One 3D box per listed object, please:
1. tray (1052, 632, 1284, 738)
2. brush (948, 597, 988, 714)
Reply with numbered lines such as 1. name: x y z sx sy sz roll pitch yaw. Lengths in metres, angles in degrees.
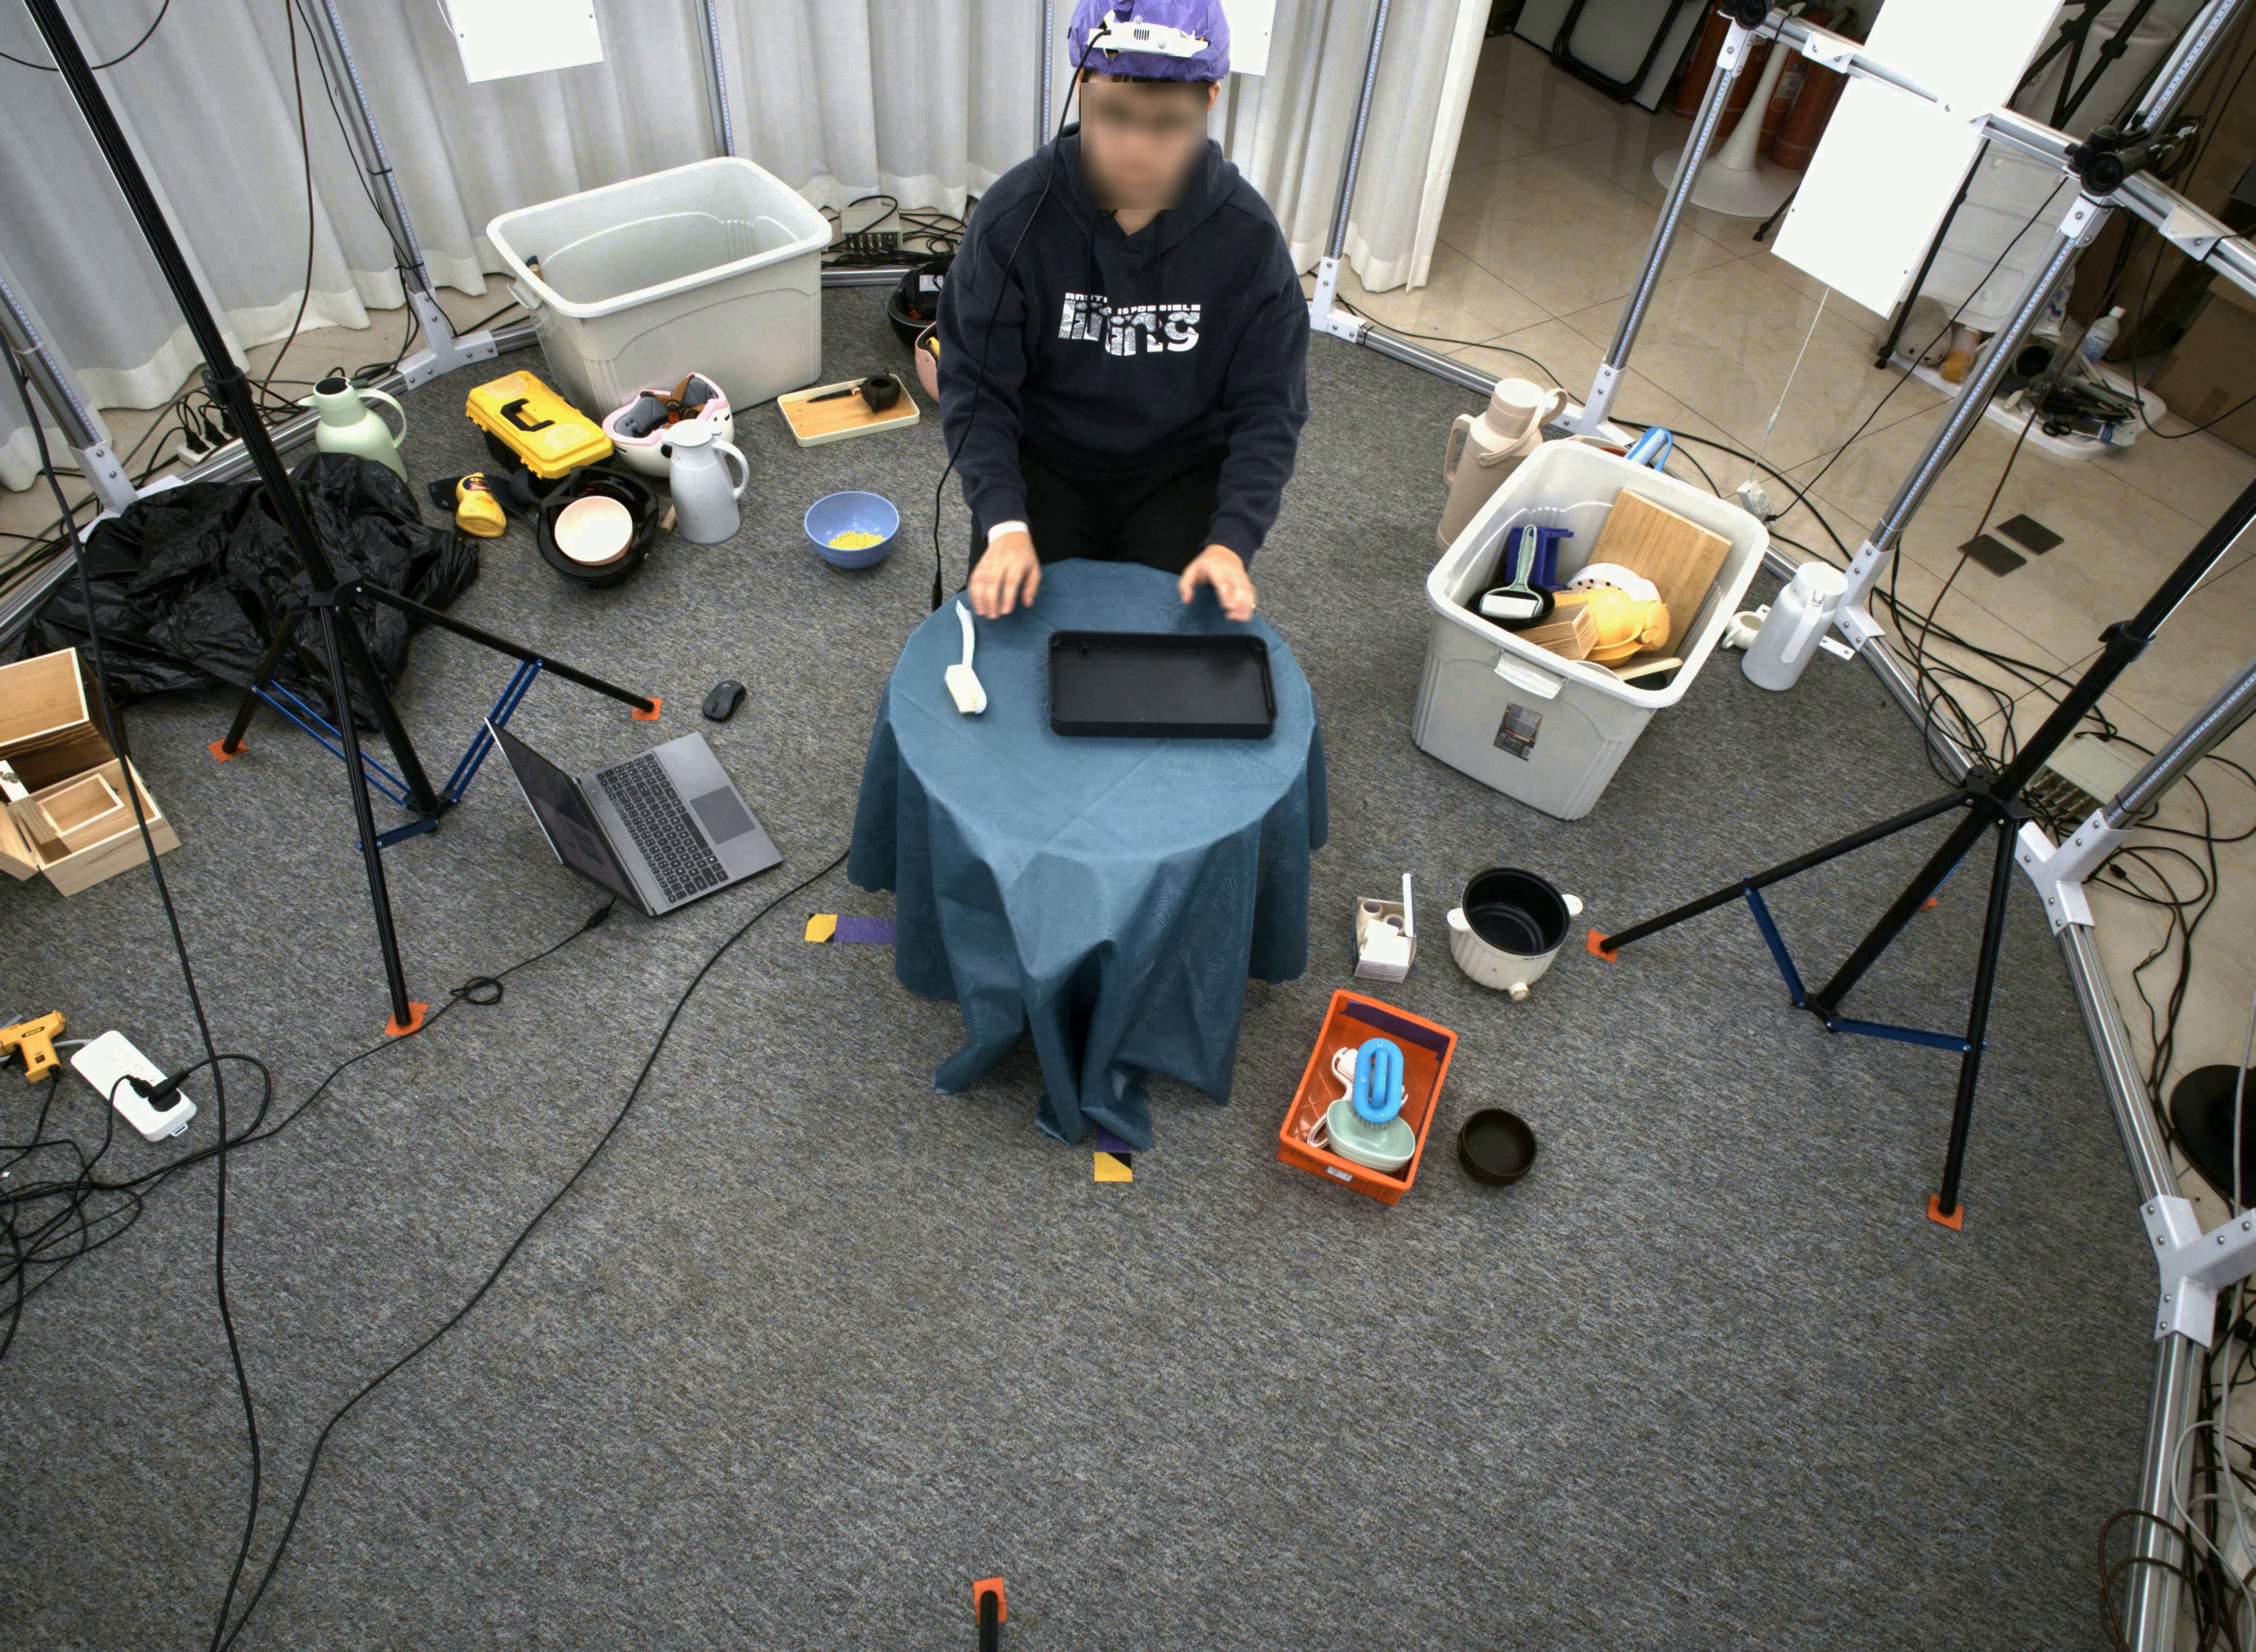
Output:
1. tray: 0.052 -0.202 1.822 0.317 0.036 0.189 -1 49 -5
2. brush: -0.237 -0.248 1.837 0.049 0.037 0.234 -2 49 -14
